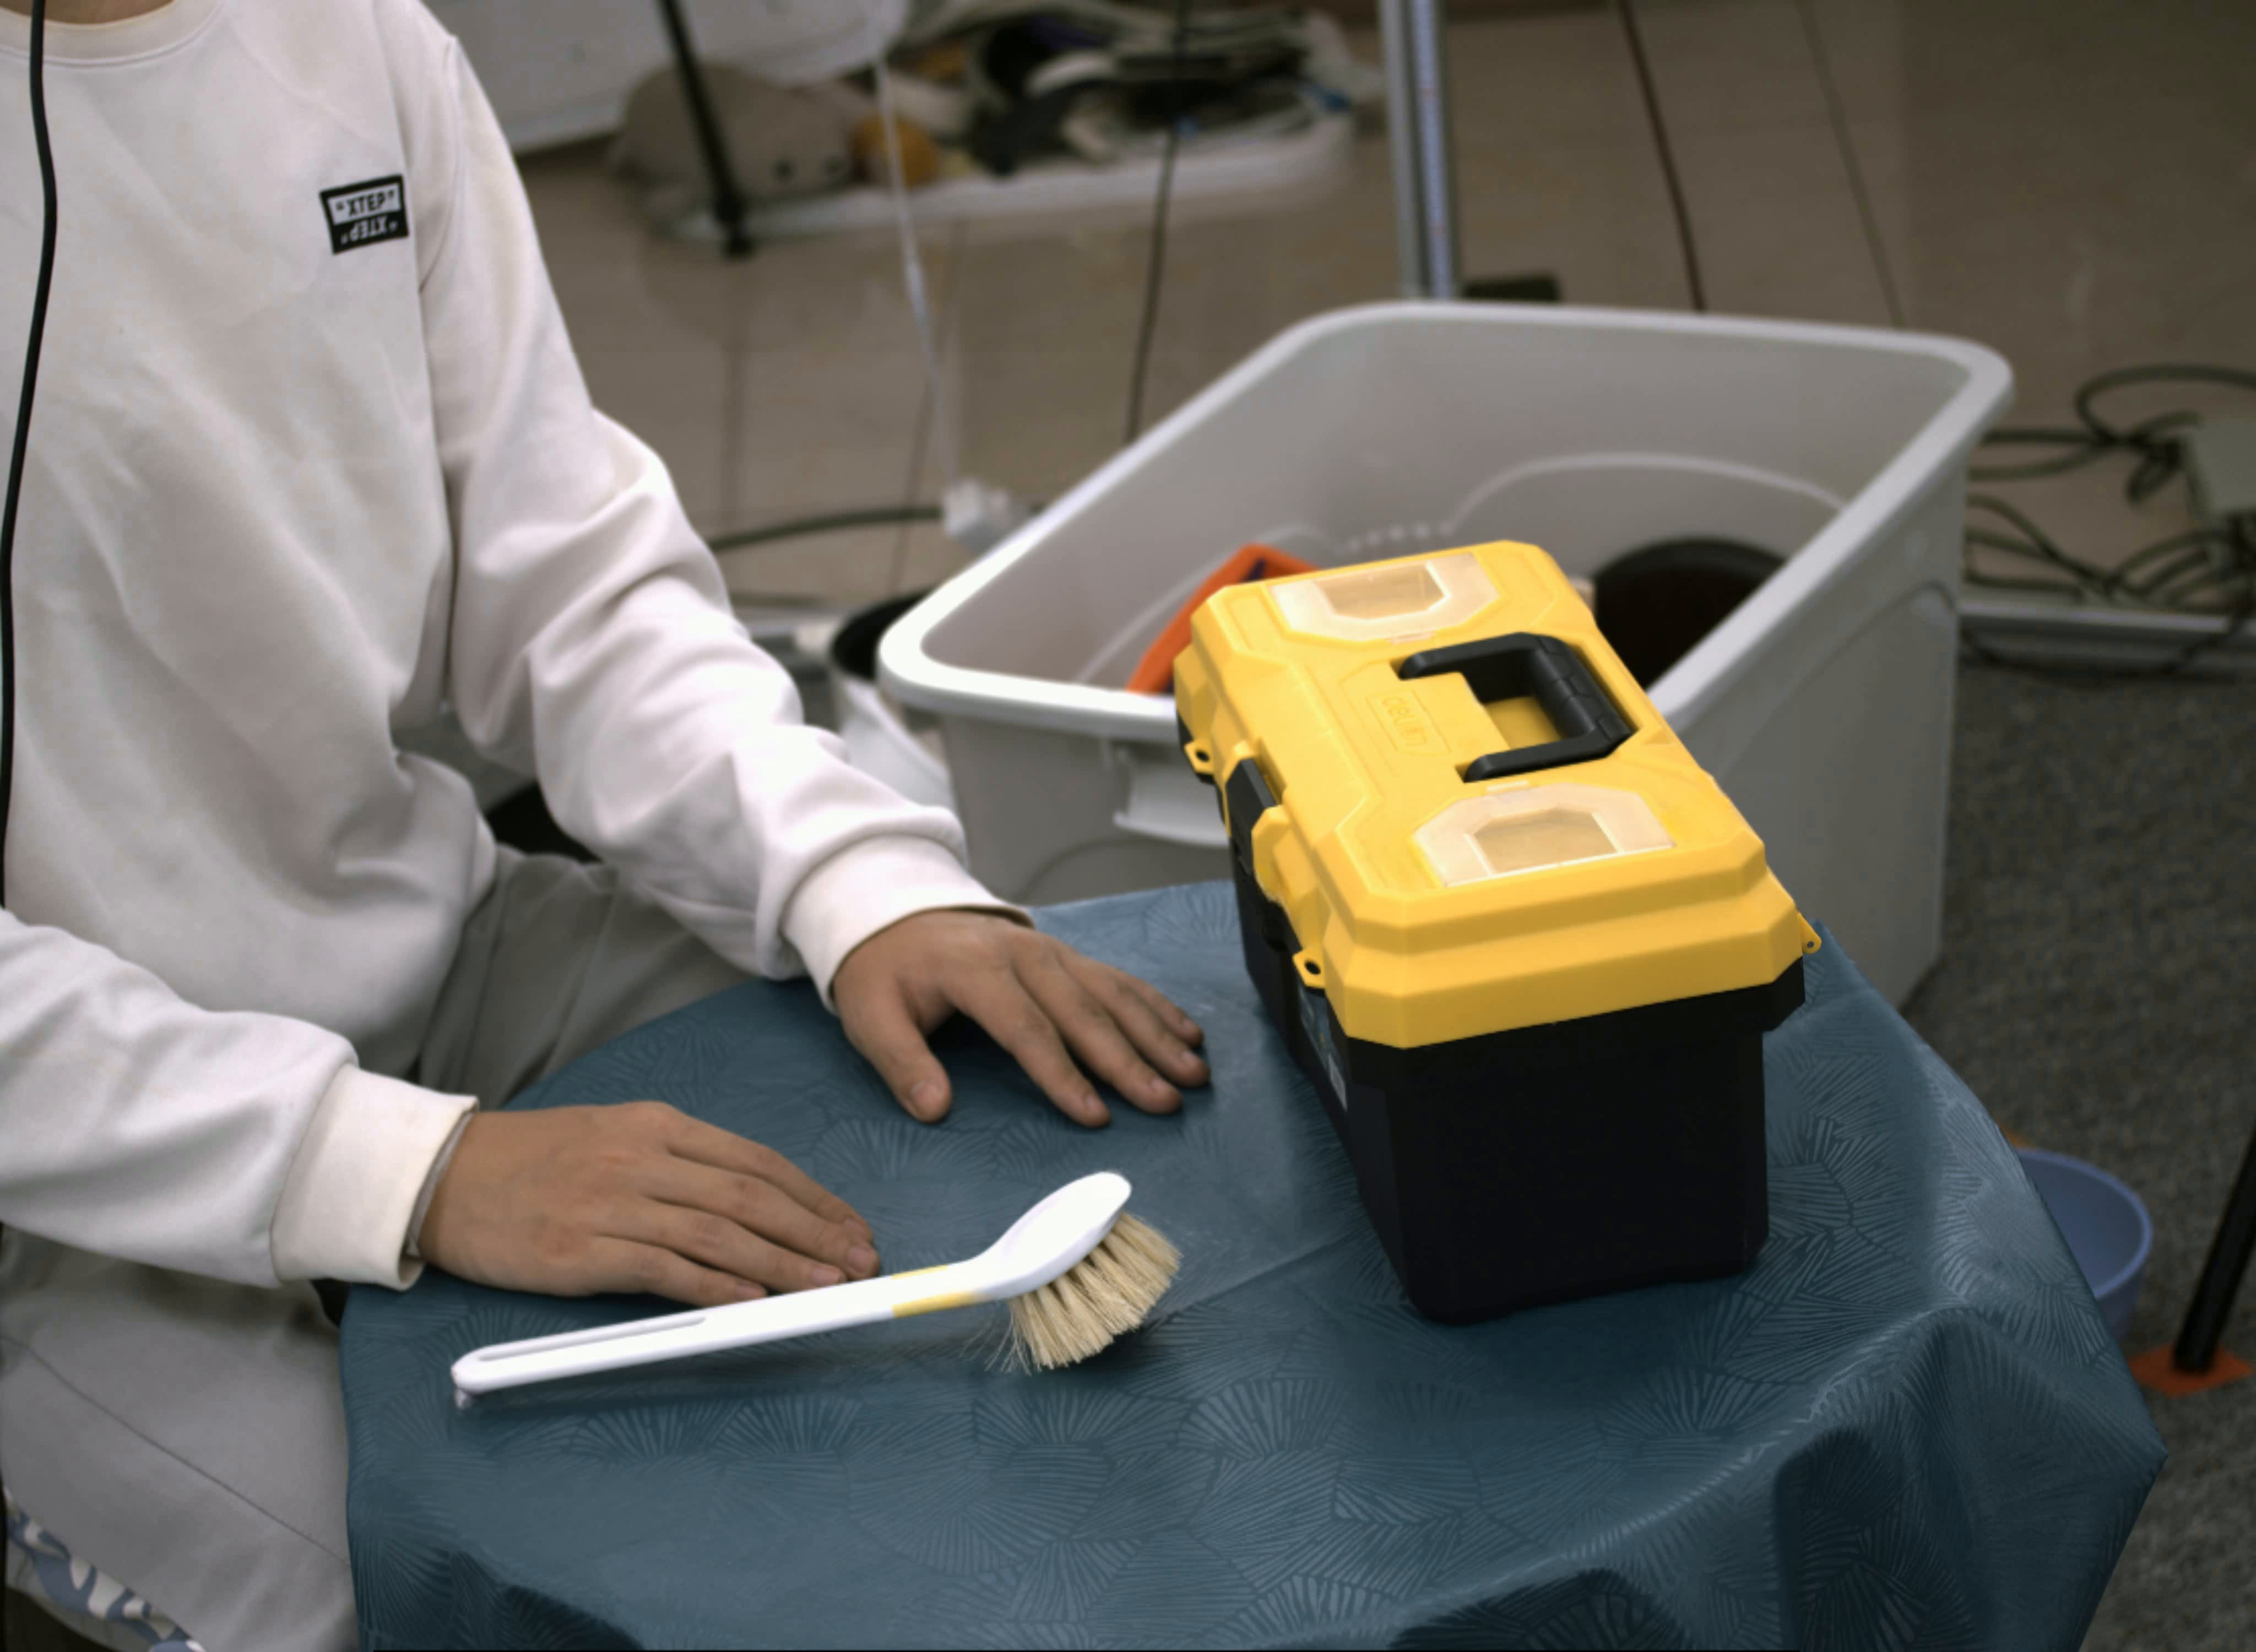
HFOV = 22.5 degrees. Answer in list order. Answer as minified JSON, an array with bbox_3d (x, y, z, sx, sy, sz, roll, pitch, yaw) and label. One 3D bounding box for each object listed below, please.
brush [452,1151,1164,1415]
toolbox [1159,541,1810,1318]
[{"bbox_3d":[-0.113,0.187,2.055,0.266,0.056,0.068,-20,4,6],"label":"brush"},{"bbox_3d":[0.130,0.033,2.134,0.181,0.175,0.346,-9,24,-7],"label":"toolbox"}]
